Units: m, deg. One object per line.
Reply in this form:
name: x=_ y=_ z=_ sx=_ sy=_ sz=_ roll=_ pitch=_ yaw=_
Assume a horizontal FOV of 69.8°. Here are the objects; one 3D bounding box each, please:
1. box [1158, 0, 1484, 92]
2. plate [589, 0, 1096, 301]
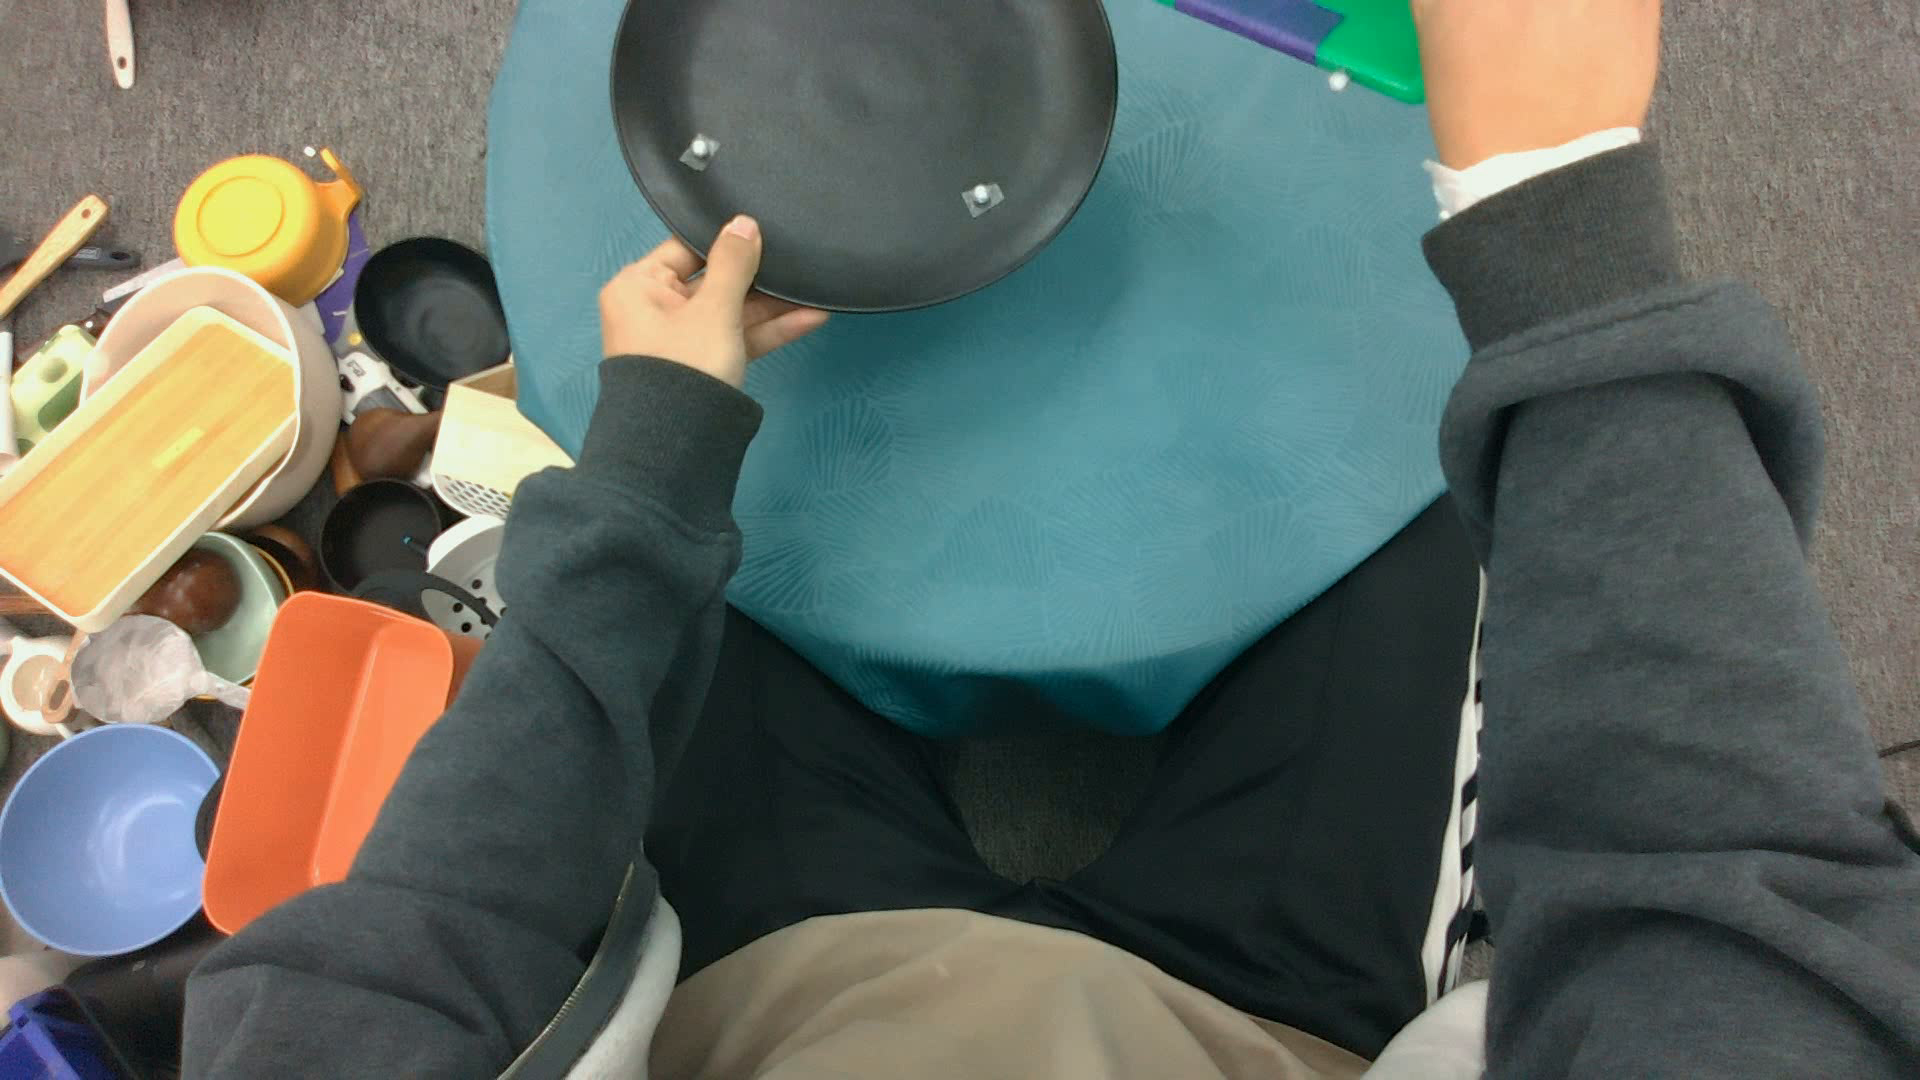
box: x=0.121 y=-0.279 z=0.541 sx=0.210 sy=0.138 sz=0.065 roll=32 pitch=62 yaw=28
plate: x=-0.056 y=-0.225 z=0.672 sx=0.244 sy=0.023 sz=0.245 roll=1 pitch=76 yaw=-2
